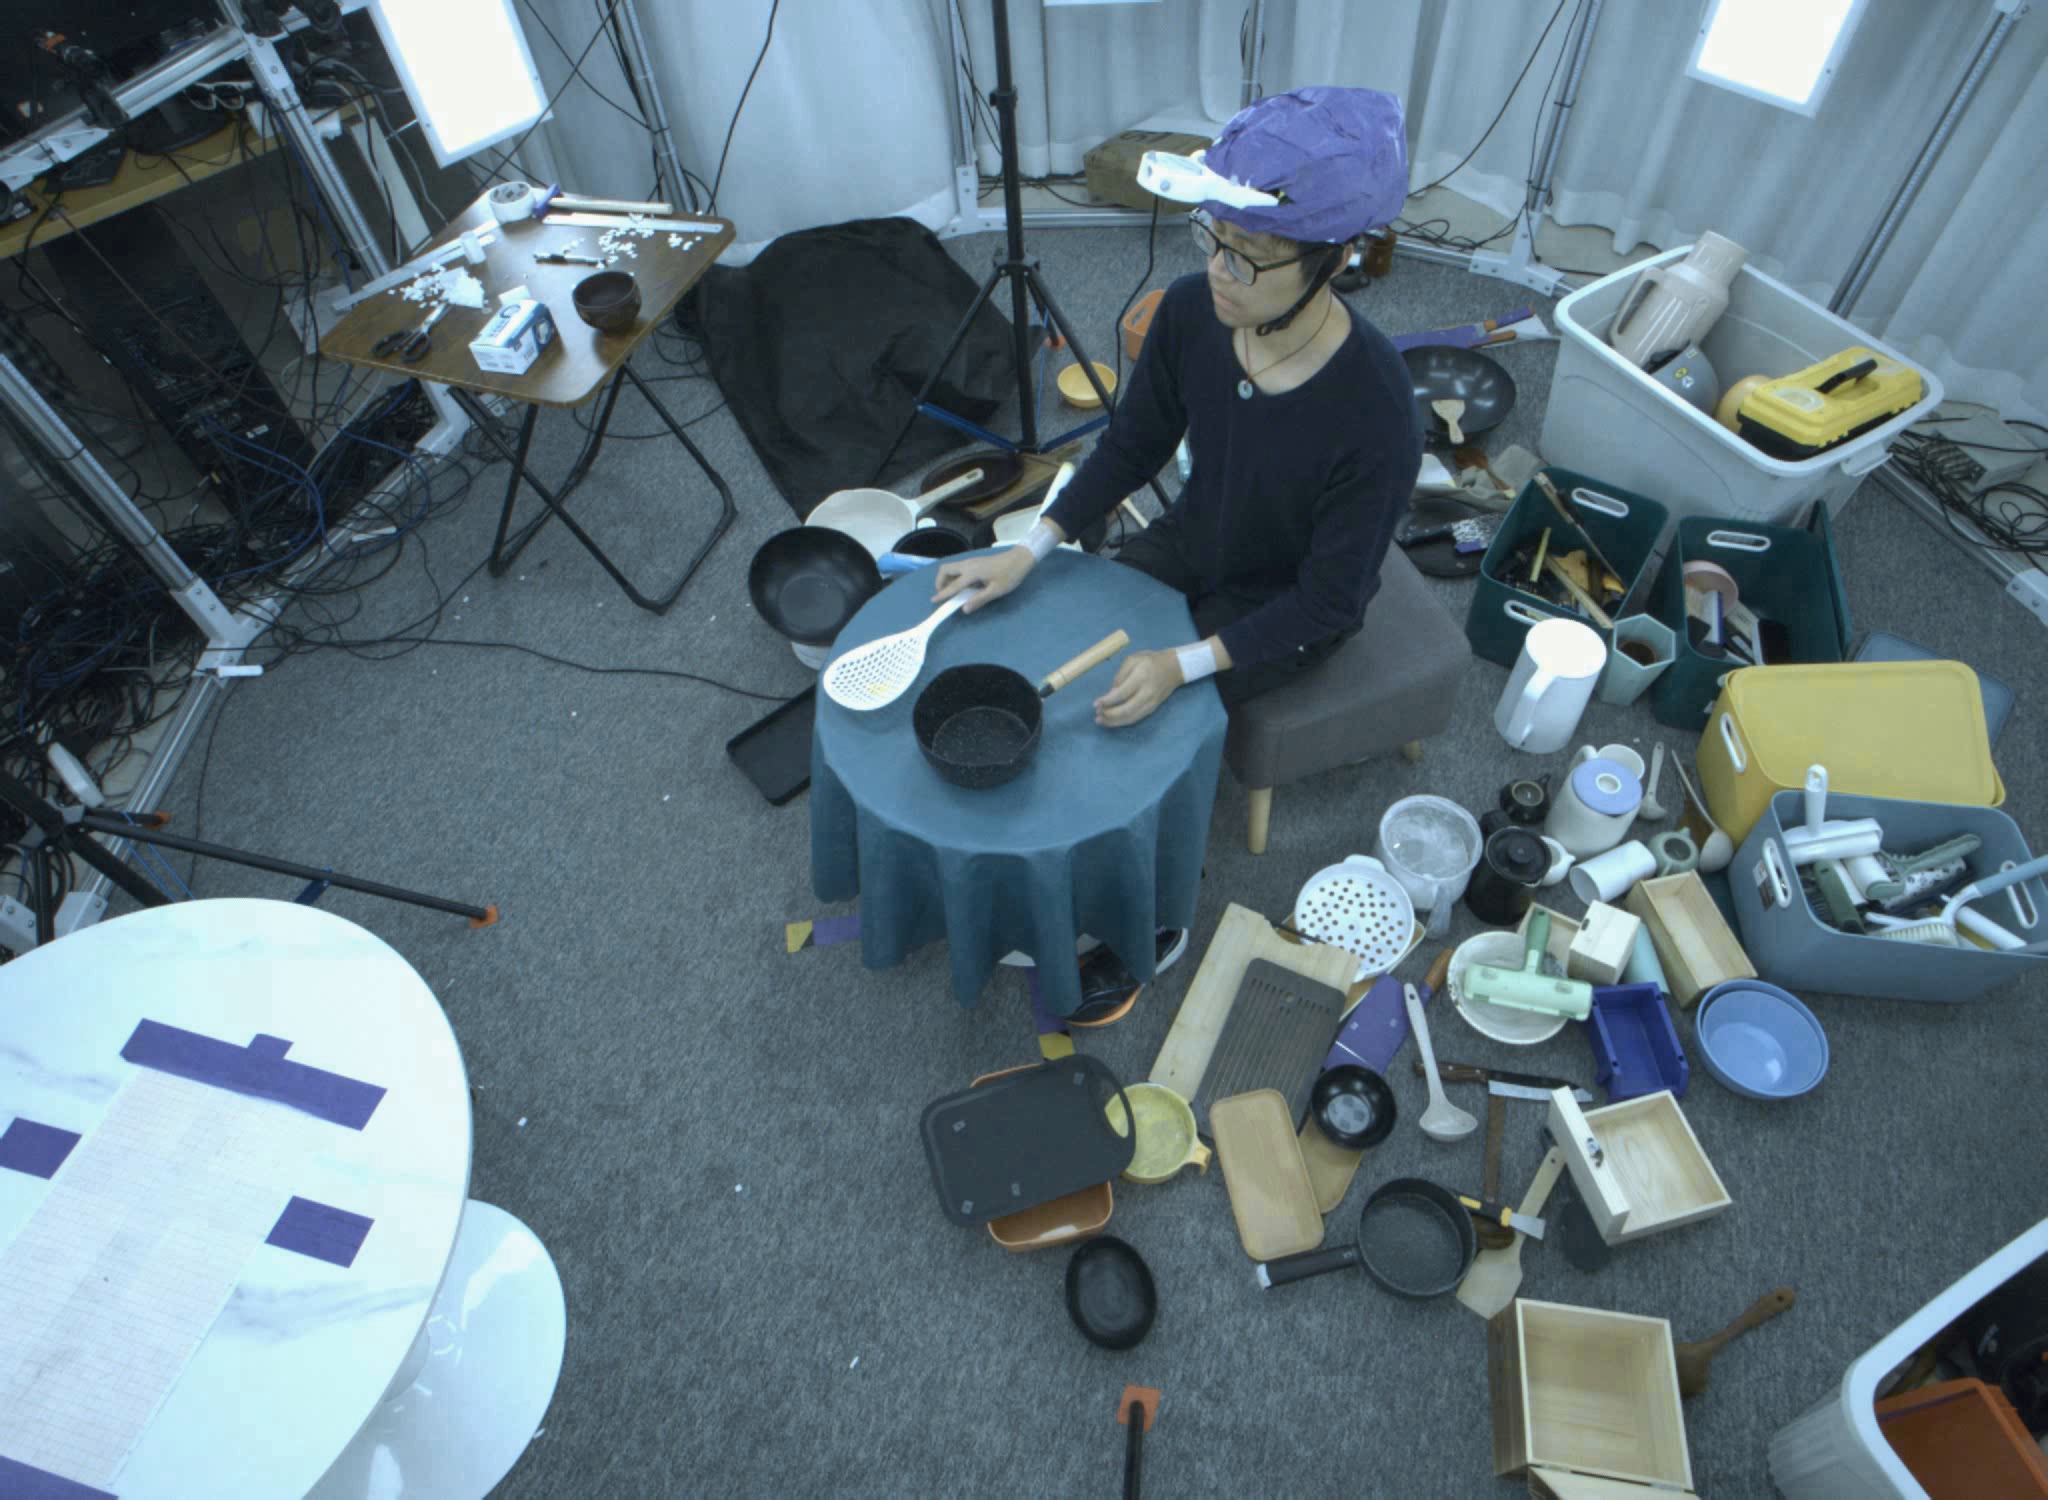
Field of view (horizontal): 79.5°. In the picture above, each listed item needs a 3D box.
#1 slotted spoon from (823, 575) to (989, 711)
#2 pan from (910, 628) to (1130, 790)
[{"bbox_3d":[-0.163,-0.173,1.889,0.134,0.051,0.349,27,61,28],"label":"slotted spoon"},{"bbox_3d":[0.003,-0.070,1.770,0.345,0.109,0.203,-28,57,-15],"label":"pan"}]
